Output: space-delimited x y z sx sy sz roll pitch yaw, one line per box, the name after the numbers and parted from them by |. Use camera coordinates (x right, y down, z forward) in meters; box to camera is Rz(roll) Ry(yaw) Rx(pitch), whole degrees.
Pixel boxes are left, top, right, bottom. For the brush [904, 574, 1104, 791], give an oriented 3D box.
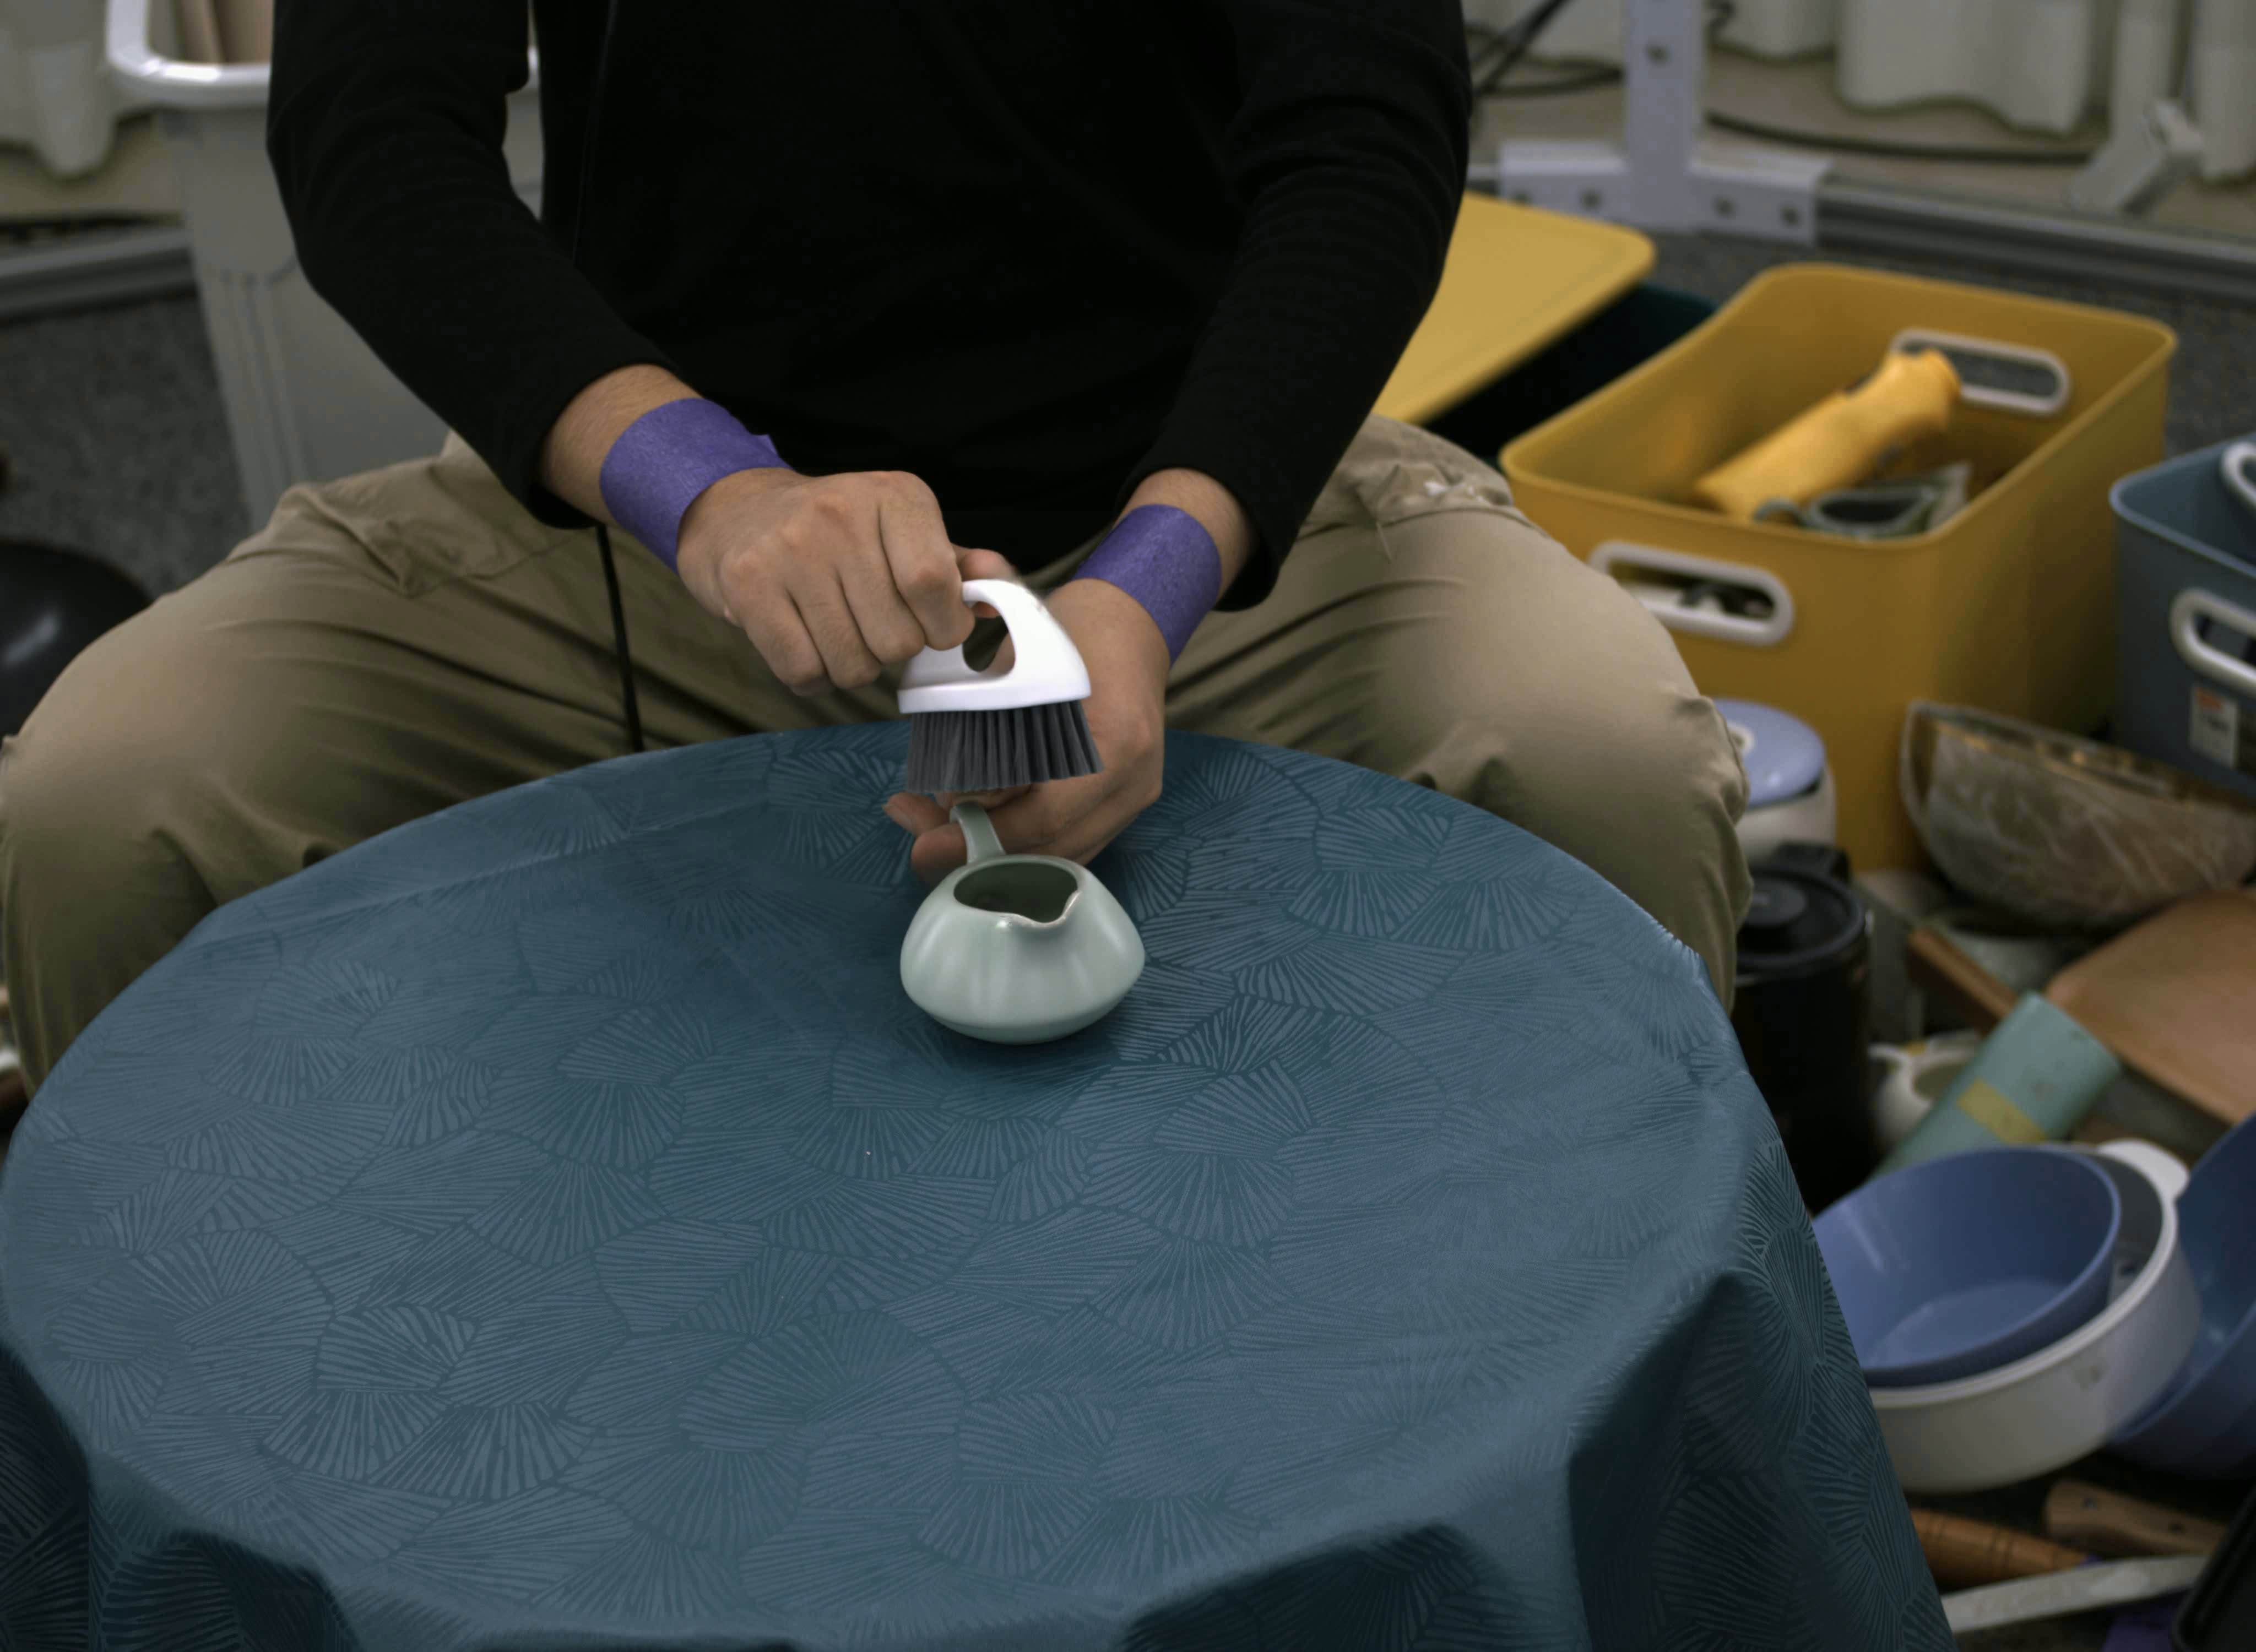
-0.047 -0.052 1.968 0.050 0.072 0.098 -9 4 -24 | brush

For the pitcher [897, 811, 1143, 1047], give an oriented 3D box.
-0.043 0.037 1.970 0.086 0.060 0.108 -12 25 -19 | pitcher
